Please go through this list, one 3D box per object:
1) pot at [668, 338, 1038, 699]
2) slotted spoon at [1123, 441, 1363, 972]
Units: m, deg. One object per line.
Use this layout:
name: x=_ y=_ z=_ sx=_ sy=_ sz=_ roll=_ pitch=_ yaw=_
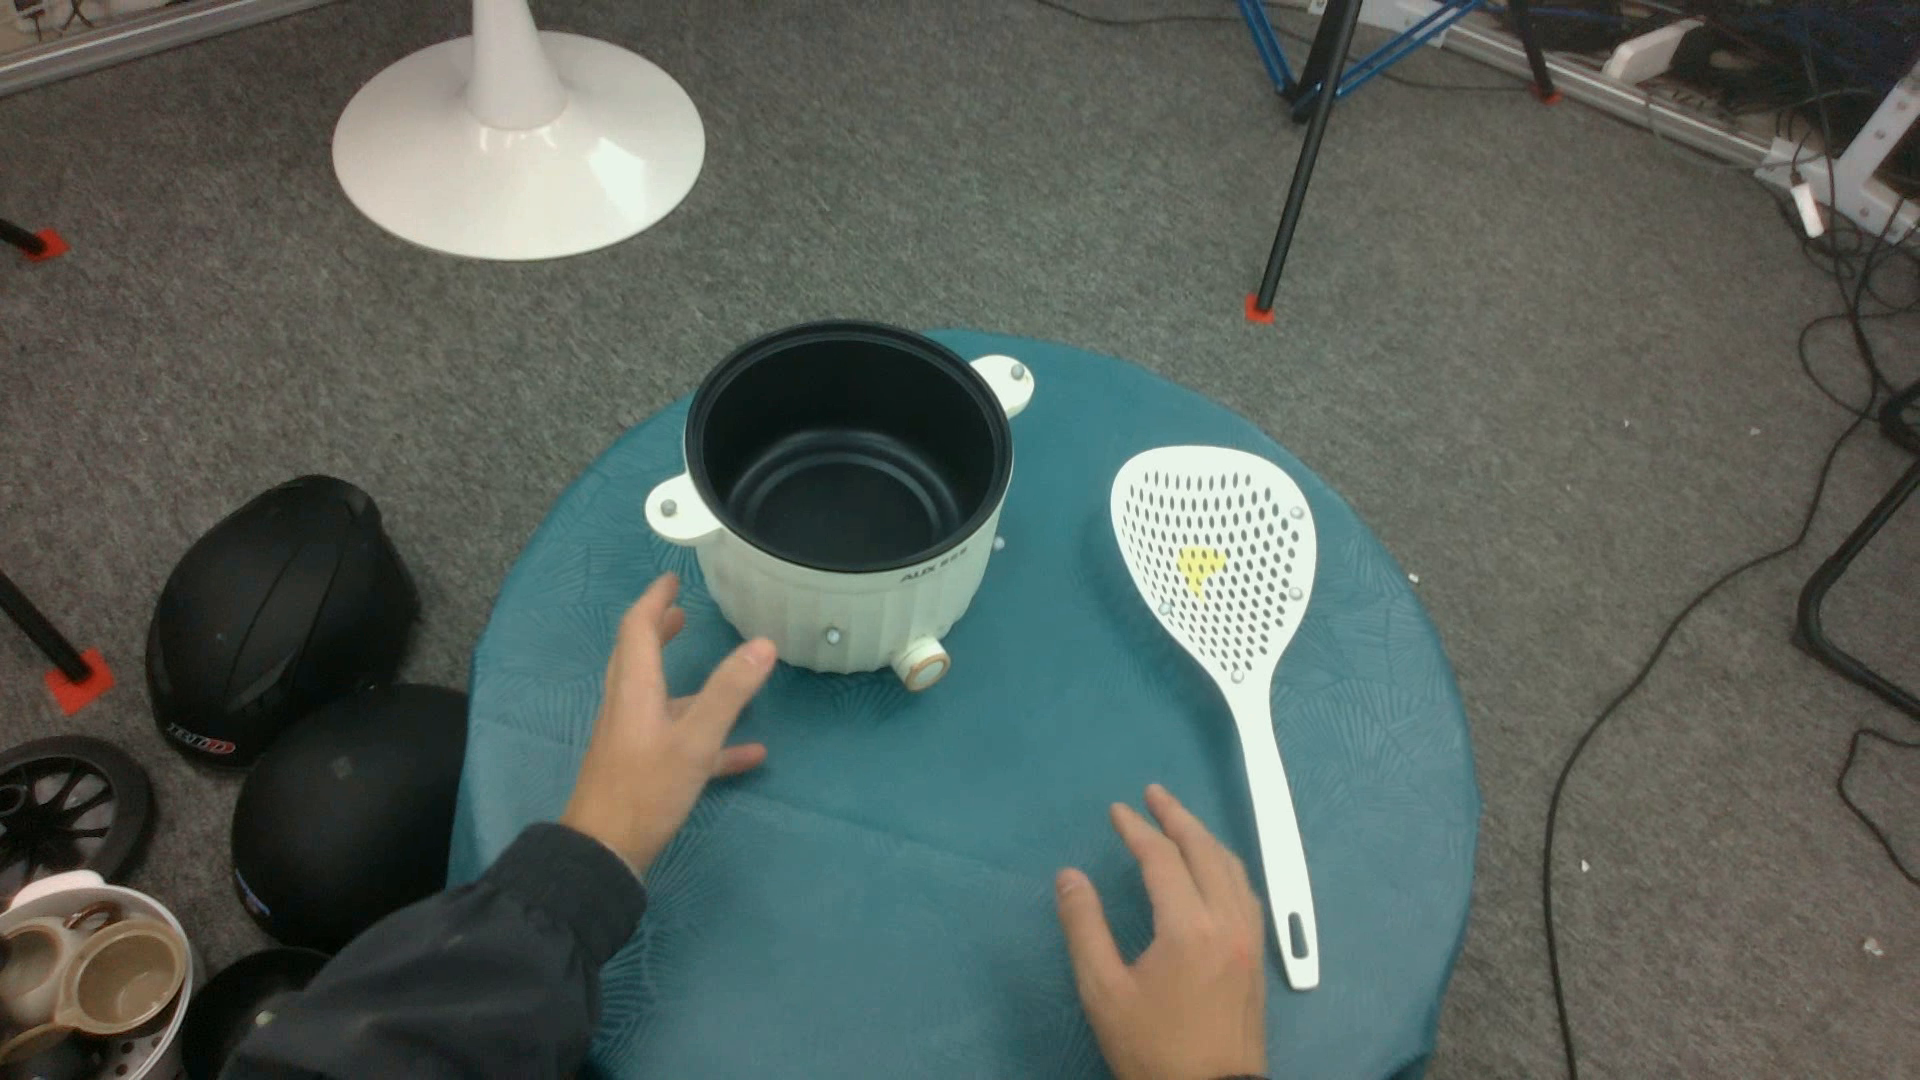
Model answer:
pot: x=-0.054 y=-0.005 z=0.822 sx=0.241 sy=0.142 sz=0.191 roll=-28 pitch=57 yaw=-22
slotted spoon: x=0.185 y=0.084 z=0.835 sx=0.137 sy=0.050 sz=0.349 roll=-2 pitch=52 yaw=-9
